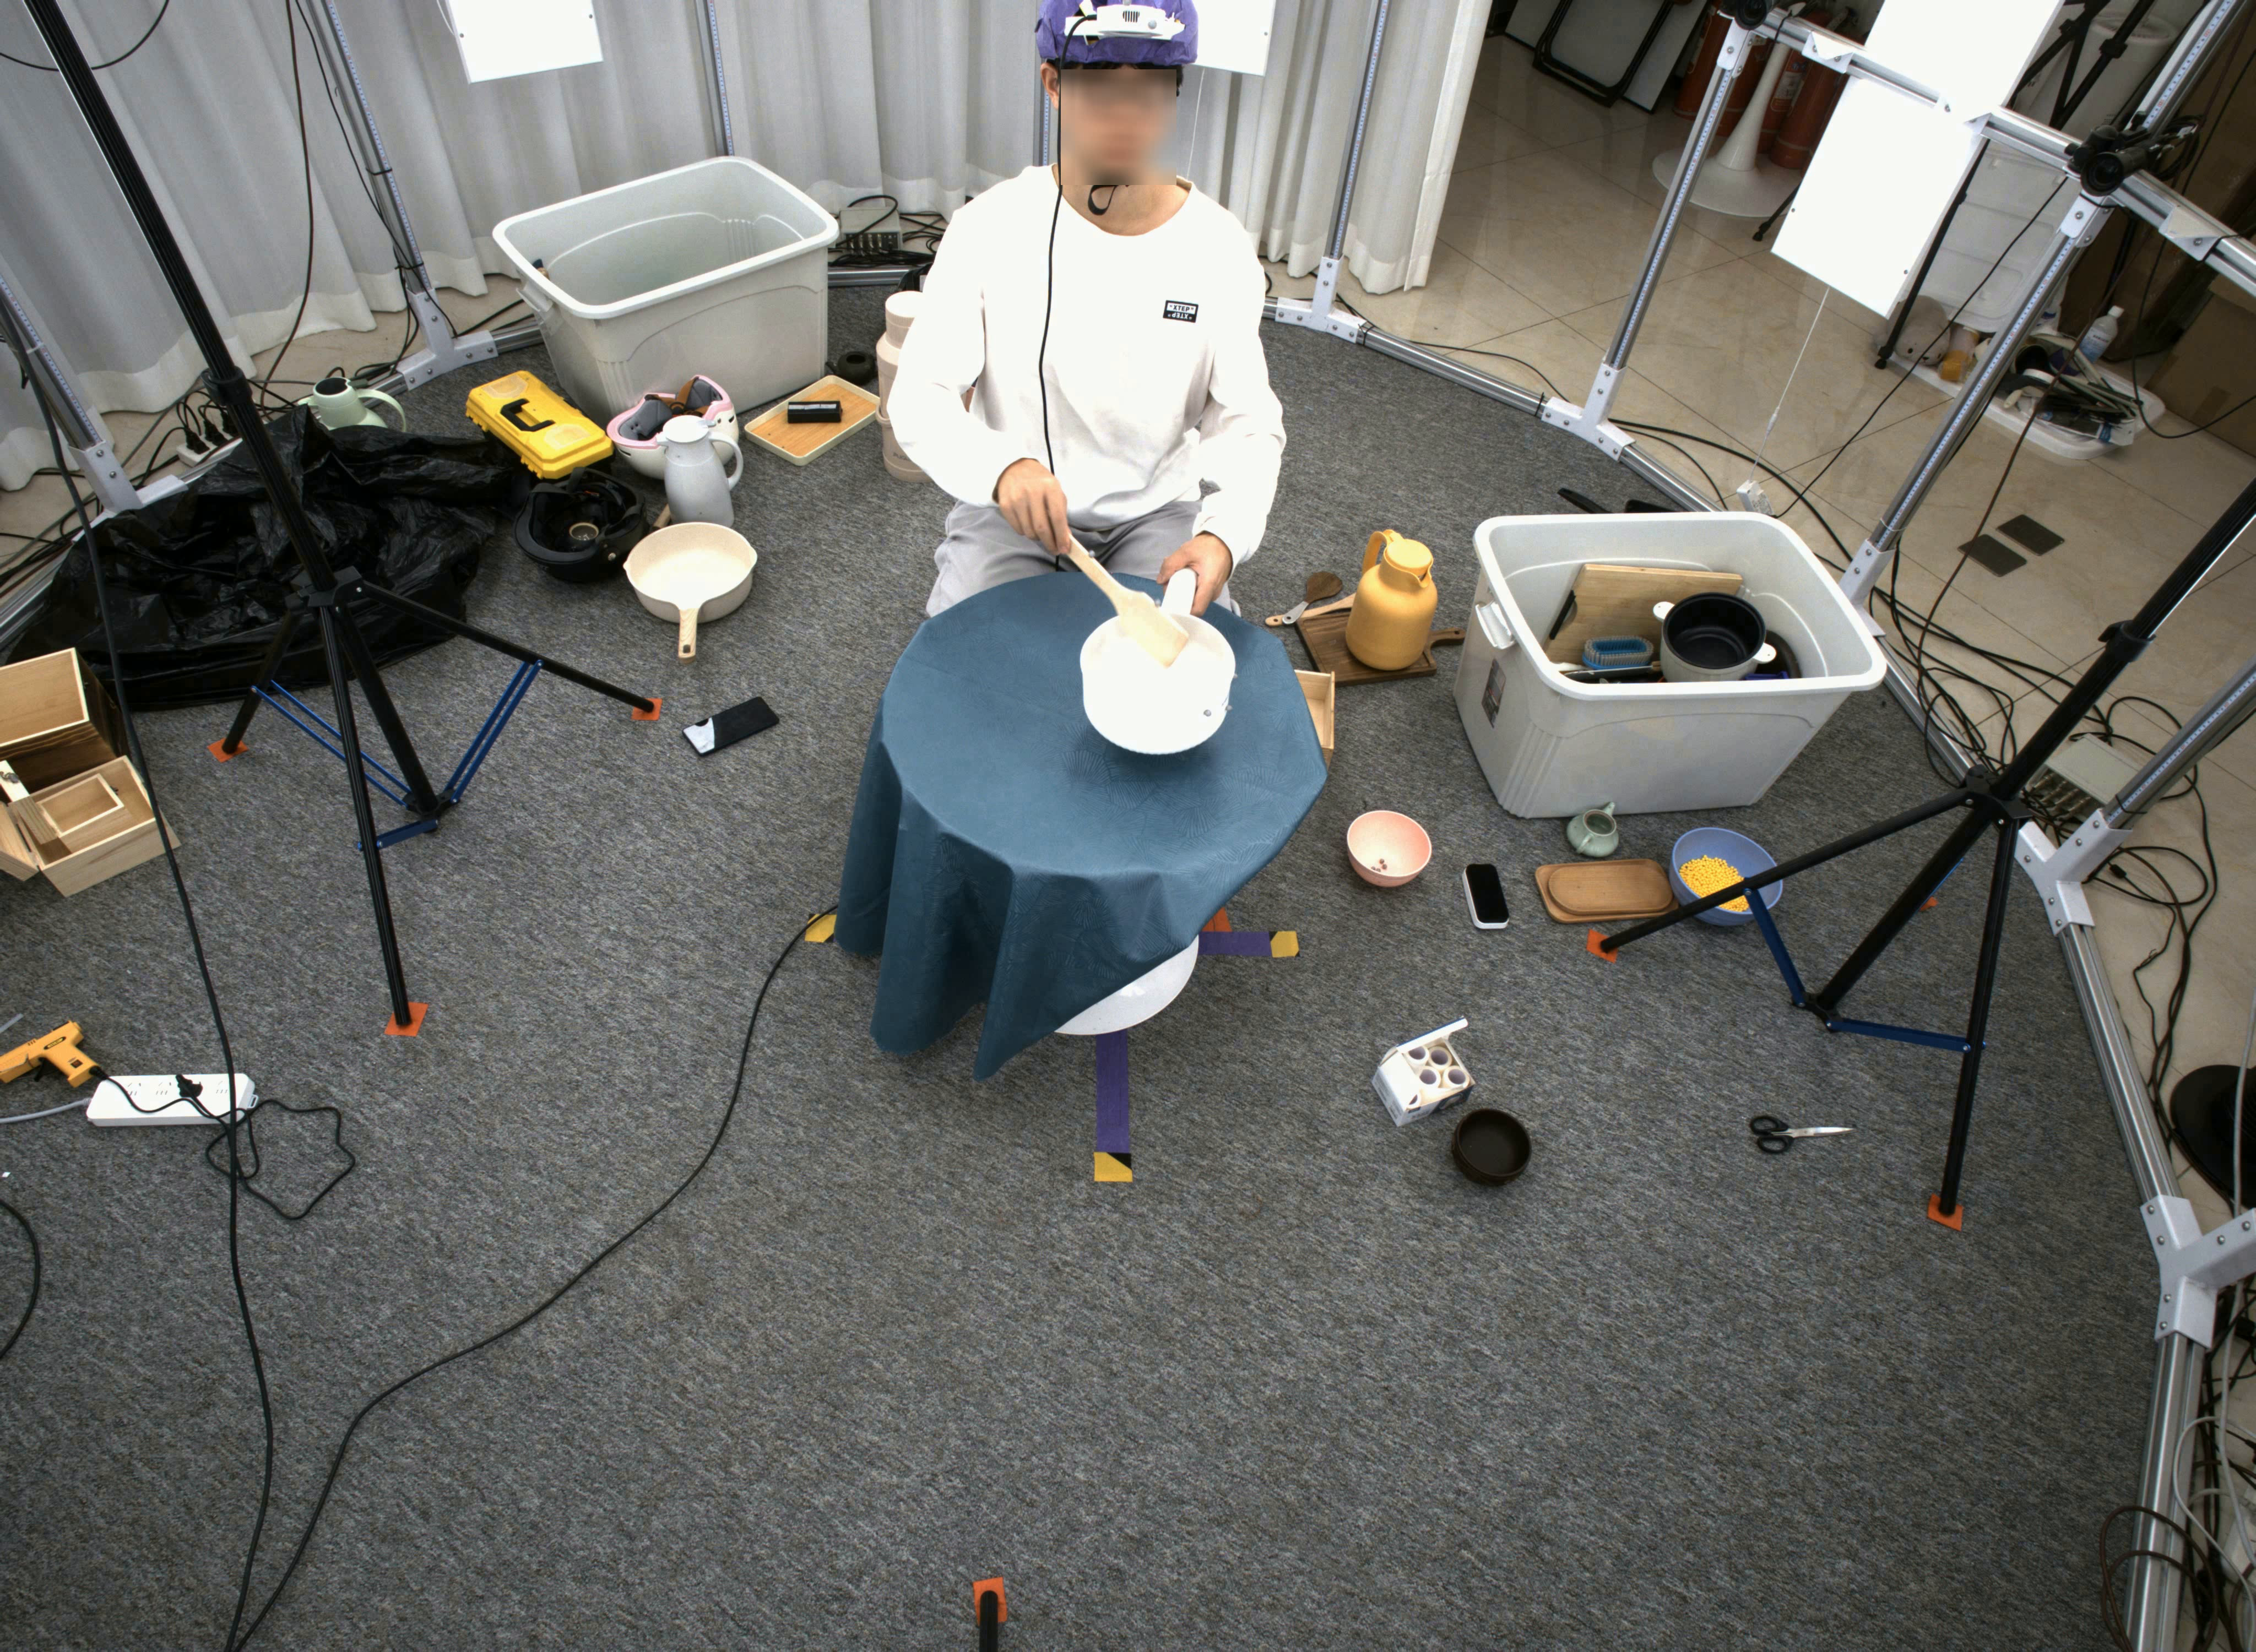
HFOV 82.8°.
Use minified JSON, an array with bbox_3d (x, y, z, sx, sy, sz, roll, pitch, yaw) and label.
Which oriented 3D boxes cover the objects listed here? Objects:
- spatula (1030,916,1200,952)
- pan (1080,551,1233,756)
[{"bbox_3d":[-0.021,0.189,2.205,0.293,0.010,0.074,3,47,-2],"label":"spatula"},{"bbox_3d":[0.055,-0.238,1.762,0.201,0.099,0.363,7,46,11],"label":"pan"}]
